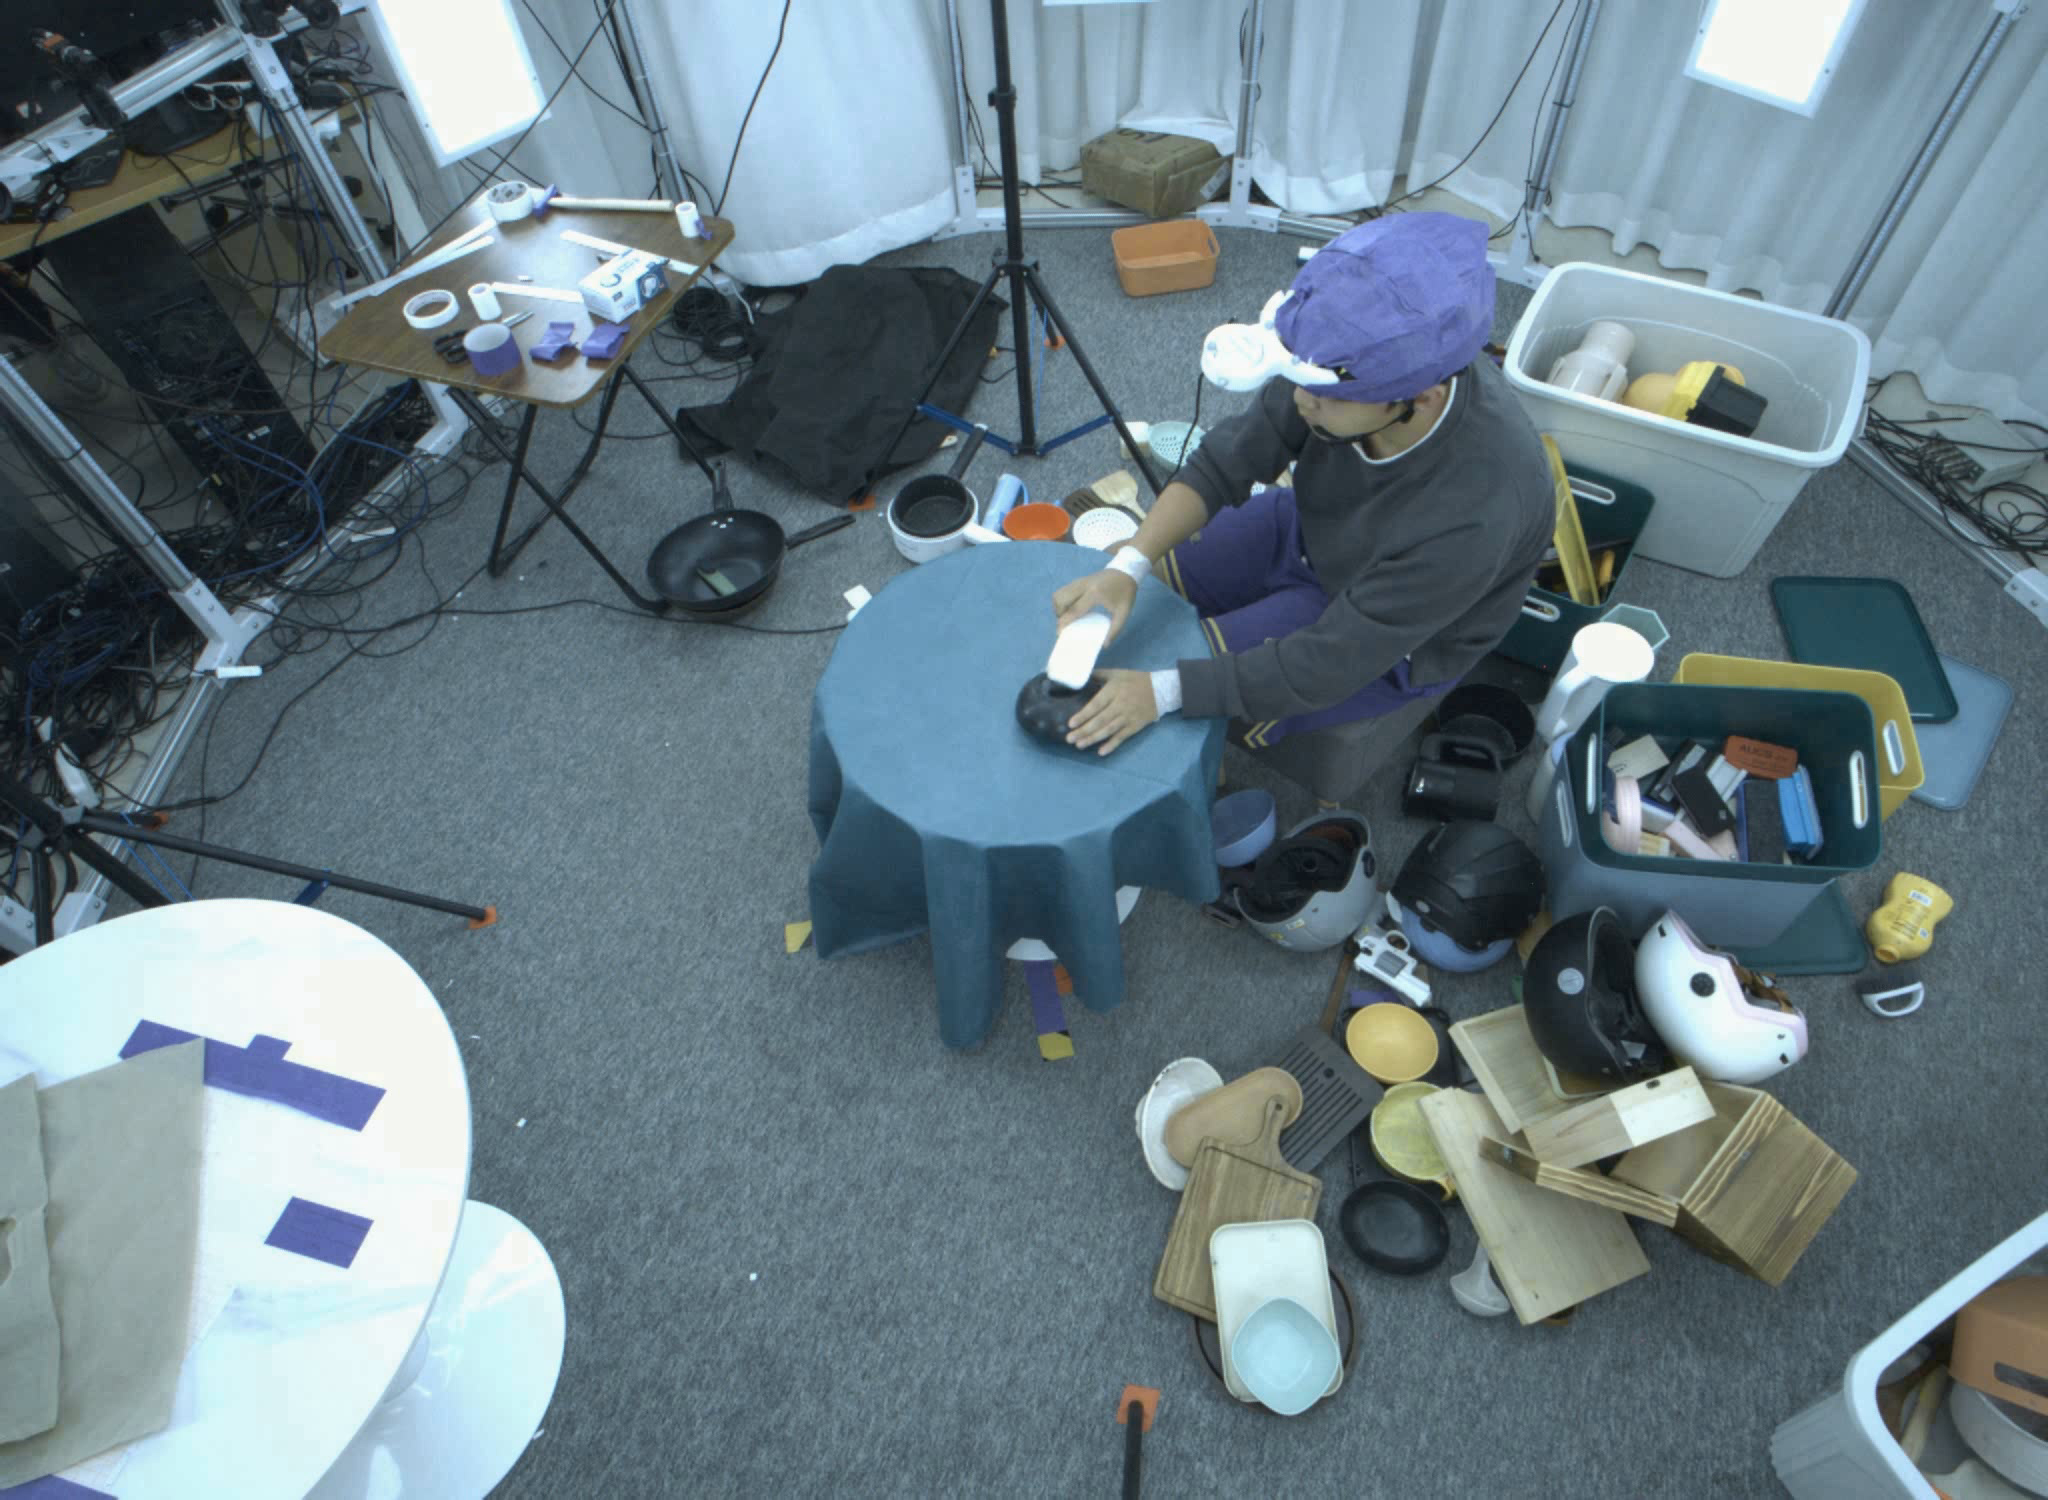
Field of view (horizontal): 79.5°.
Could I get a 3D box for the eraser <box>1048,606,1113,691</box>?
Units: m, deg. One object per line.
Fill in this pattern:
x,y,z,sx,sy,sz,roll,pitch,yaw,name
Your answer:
0.082,-0.148,1.785,0.063,0.034,0.131,24,65,3,eraser

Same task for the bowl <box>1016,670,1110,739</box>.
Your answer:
0.055,-0.078,1.794,0.140,0.050,0.138,-2,41,3,bowl
